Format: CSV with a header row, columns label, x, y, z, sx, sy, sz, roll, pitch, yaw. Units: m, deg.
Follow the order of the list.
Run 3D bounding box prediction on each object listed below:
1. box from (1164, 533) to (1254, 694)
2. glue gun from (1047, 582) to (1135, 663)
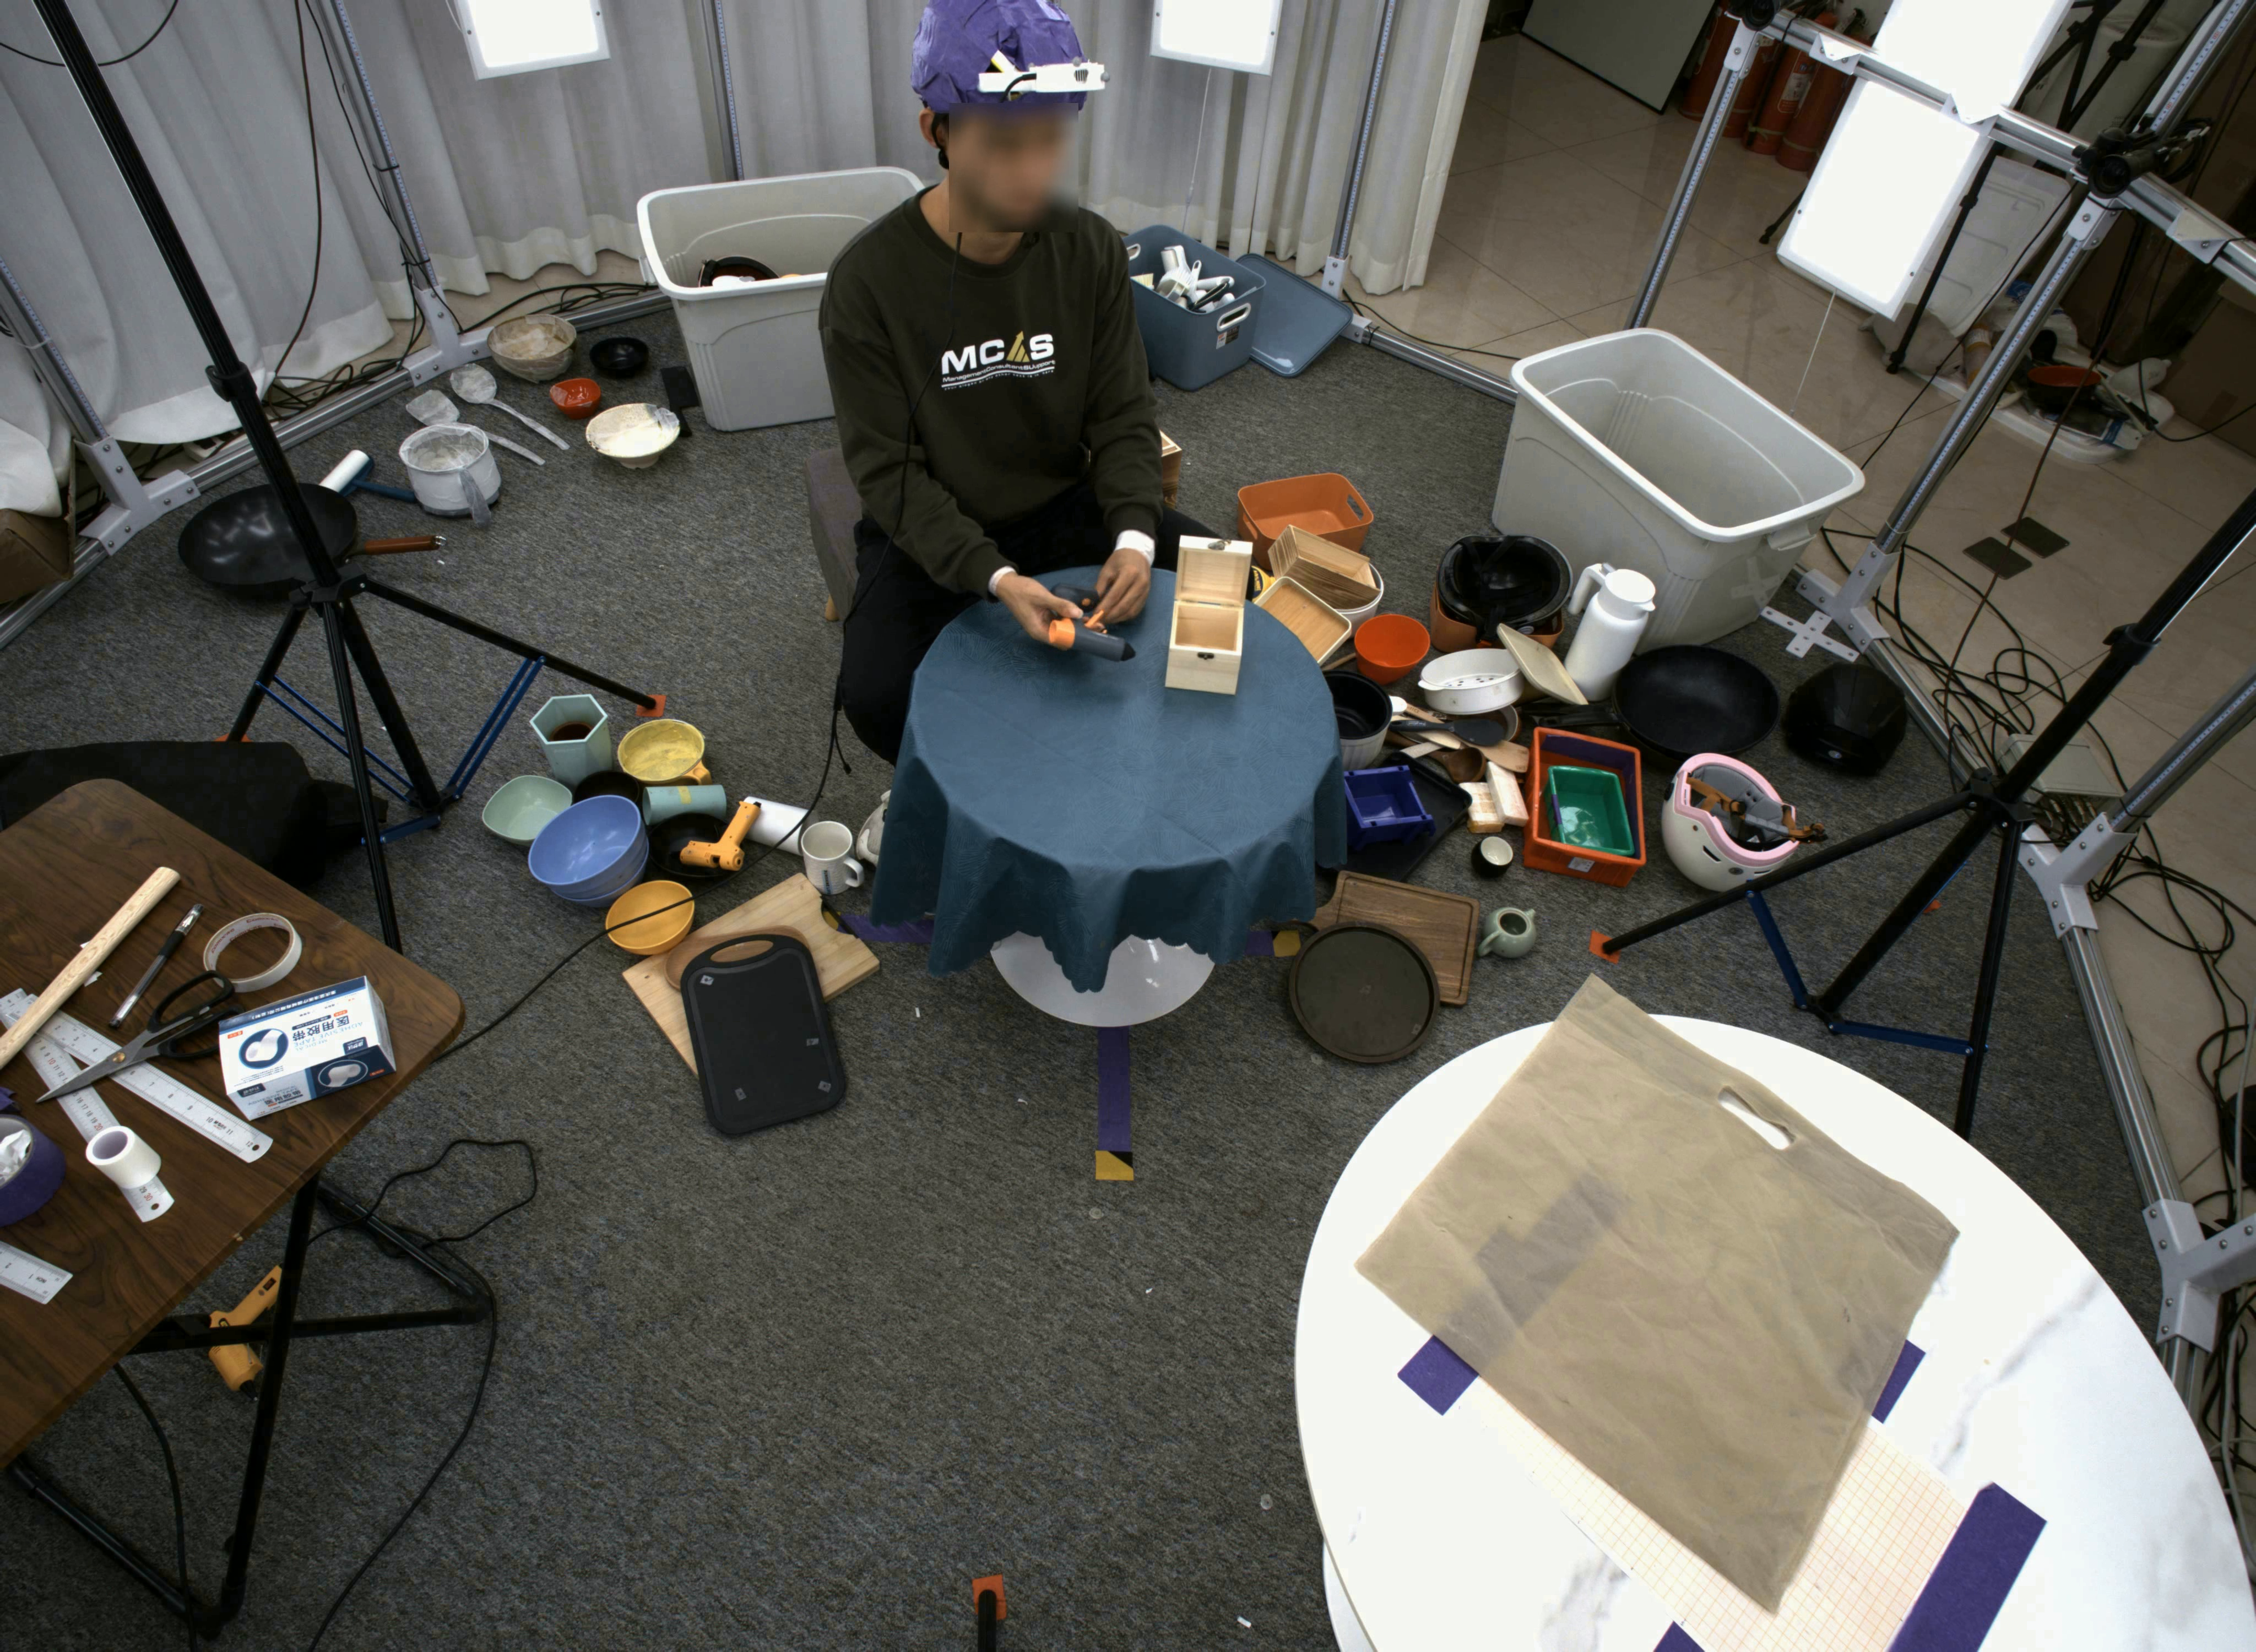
label,x,y,z,sx,sy,sz,roll,pitch,yaw
box,0.113,-0.297,1.806,0.102,0.180,0.137,5,50,-1
glue gun,-0.059,-0.286,1.825,0.117,0.040,0.143,8,39,-27
